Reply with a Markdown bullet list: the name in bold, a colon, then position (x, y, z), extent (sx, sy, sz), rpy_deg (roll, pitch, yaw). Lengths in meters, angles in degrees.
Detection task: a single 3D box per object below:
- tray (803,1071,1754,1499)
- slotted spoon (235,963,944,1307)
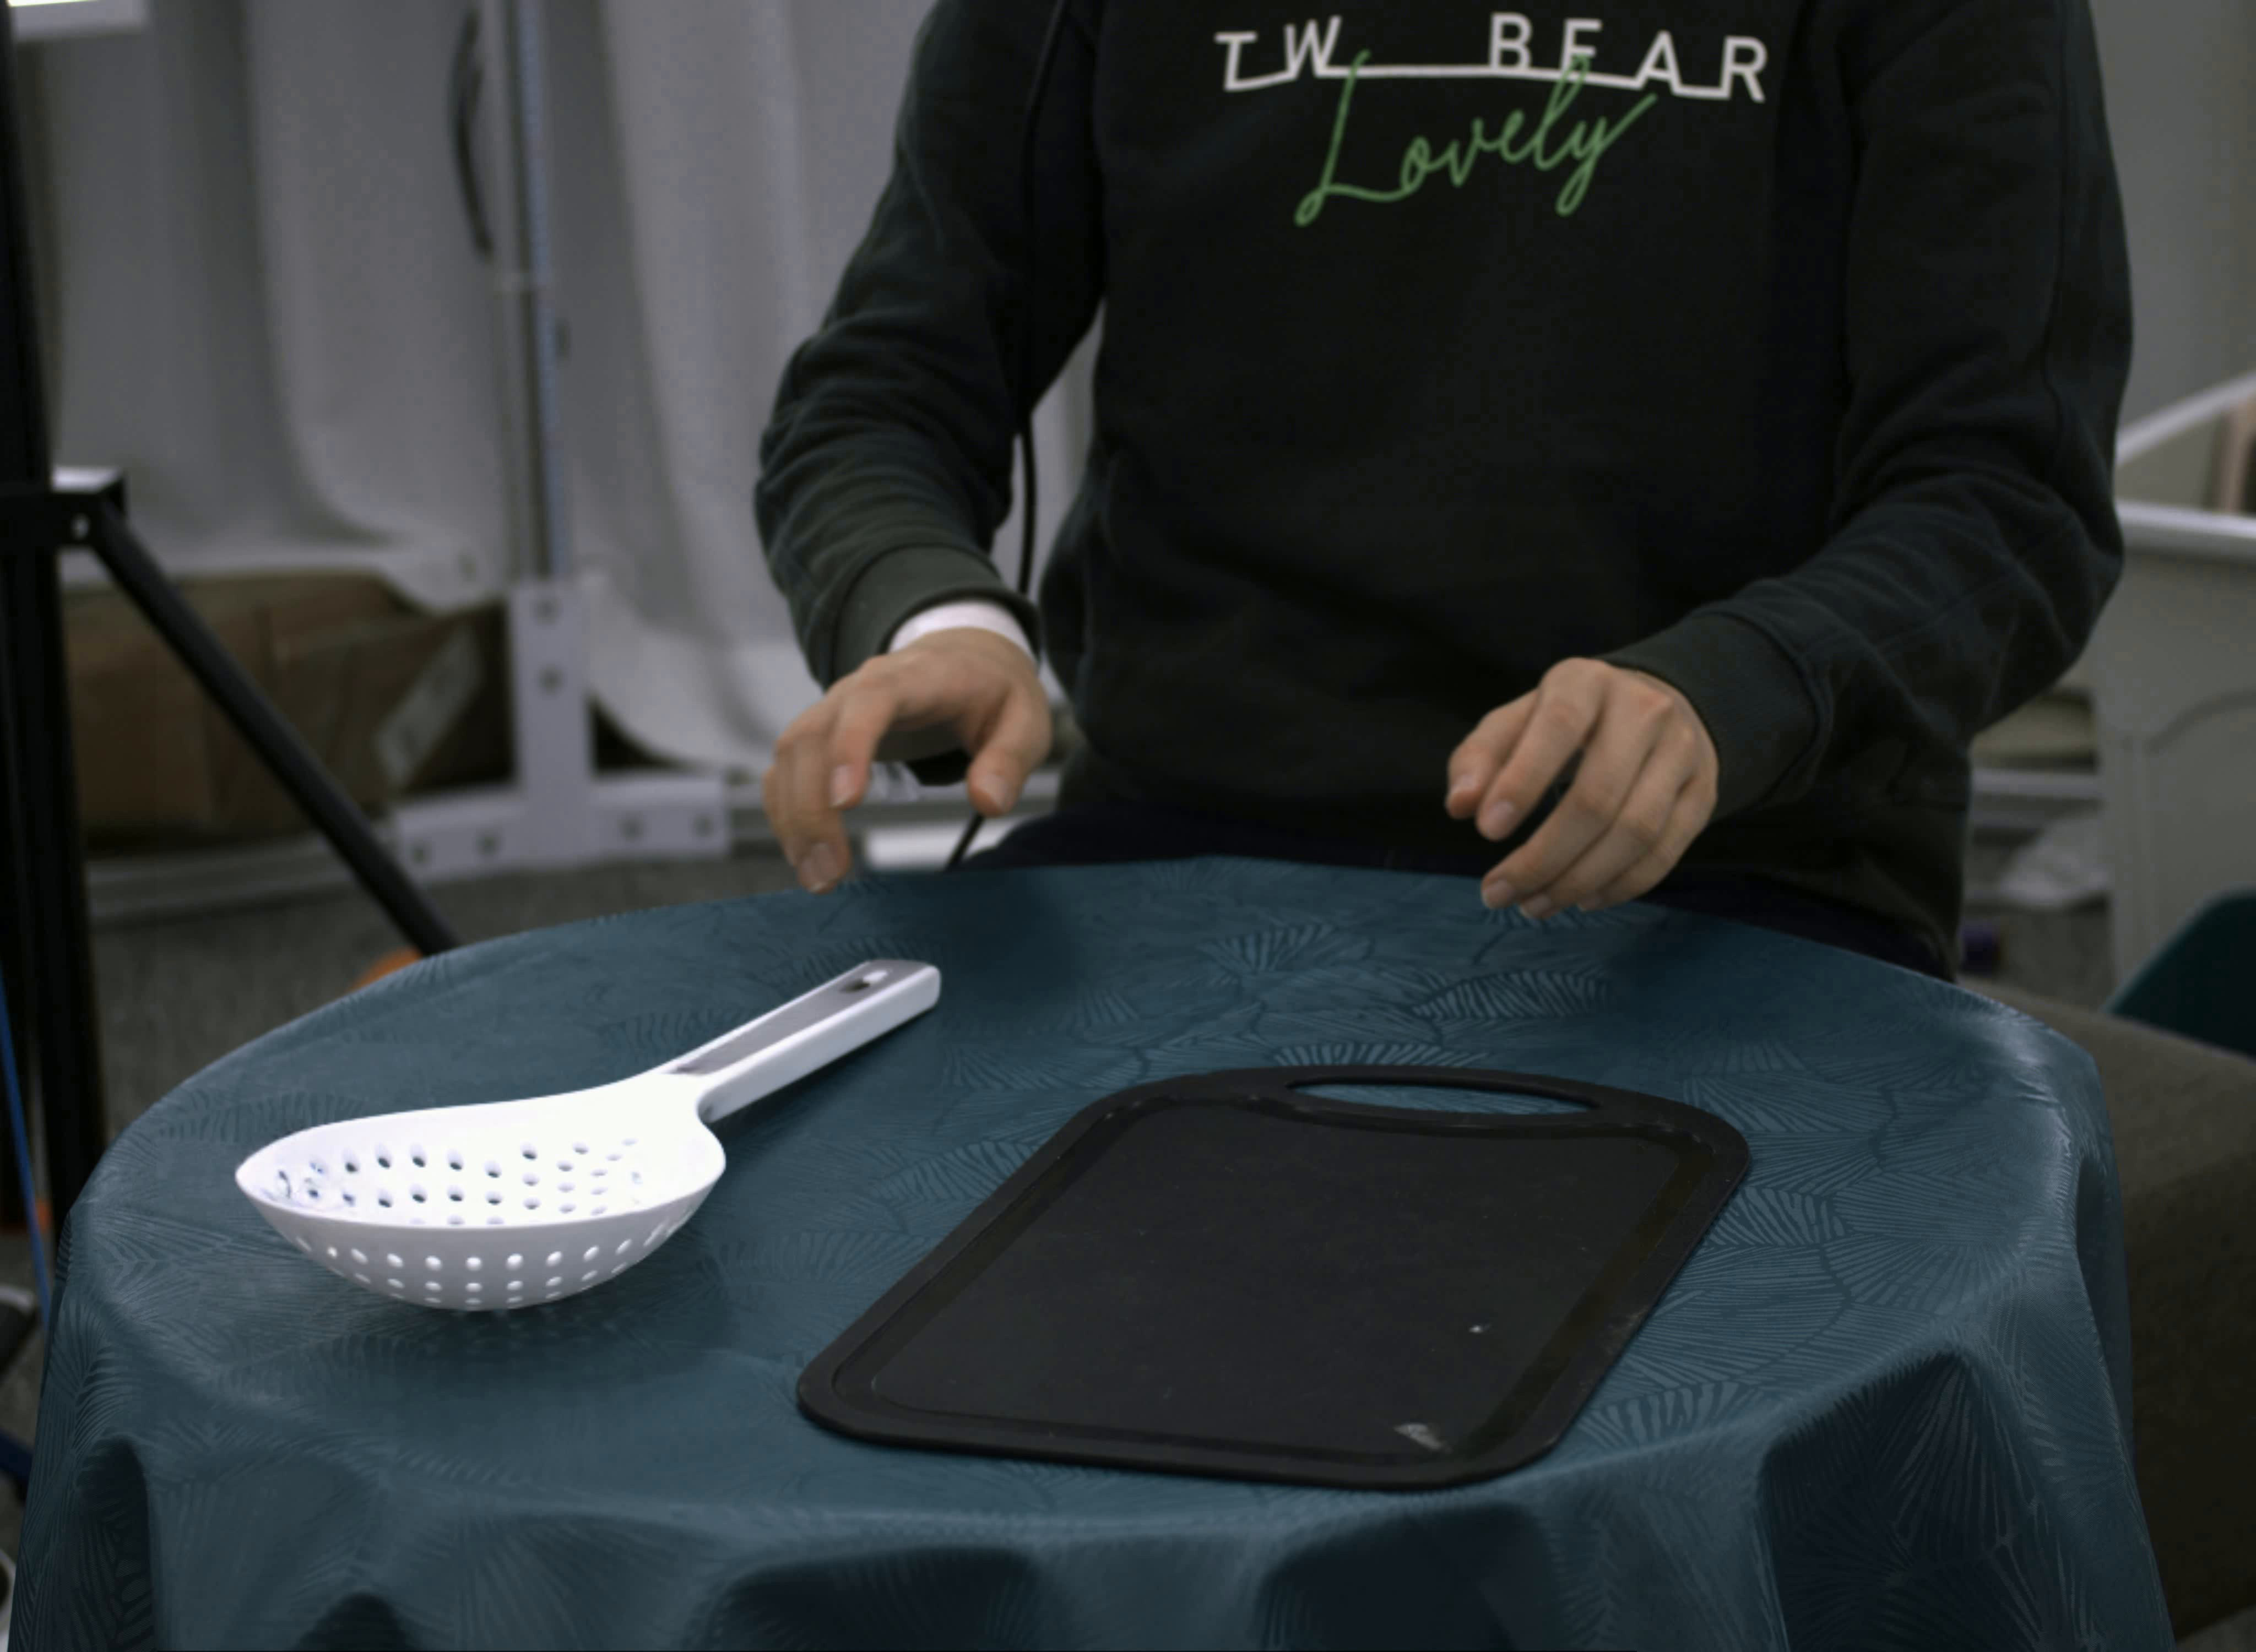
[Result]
- **tray**: position (0.051, 0.120, 1.495), extent (0.213, 0.010, 0.321), rpy_deg (4, 17, 20)
- **slotted spoon**: position (-0.139, 0.082, 1.588), extent (0.138, 0.046, 0.345), rpy_deg (5, 17, 23)
